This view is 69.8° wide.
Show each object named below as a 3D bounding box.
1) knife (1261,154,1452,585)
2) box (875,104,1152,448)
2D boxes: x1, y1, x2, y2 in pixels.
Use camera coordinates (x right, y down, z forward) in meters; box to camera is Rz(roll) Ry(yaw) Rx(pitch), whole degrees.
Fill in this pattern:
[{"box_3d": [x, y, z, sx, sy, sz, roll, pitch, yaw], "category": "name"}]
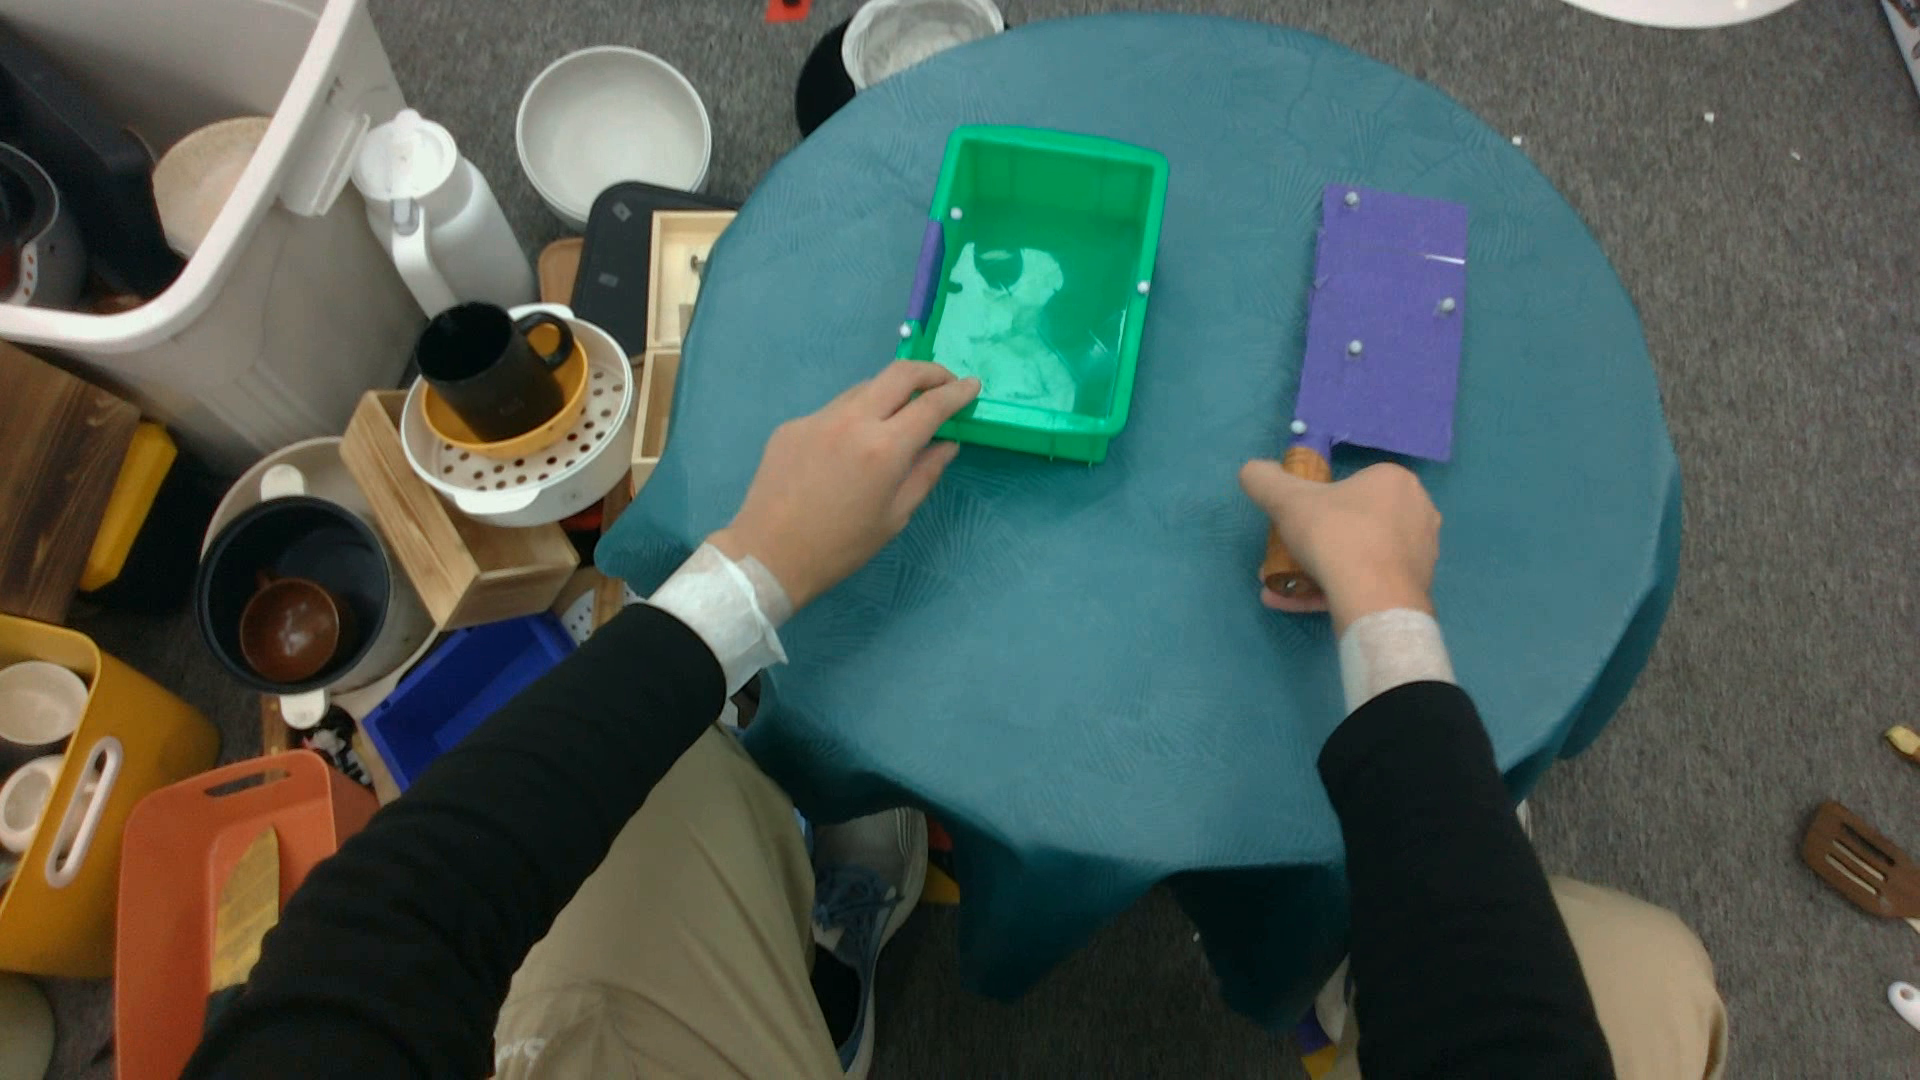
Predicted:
[{"box_3d": [0.238, -0.111, 0.821, 0.104, 0.032, 0.316, 11, 62, 4], "category": "knife"}, {"box_3d": [0.035, -0.156, 0.832, 0.138, 0.065, 0.211, 8, 69, 5], "category": "box"}]
